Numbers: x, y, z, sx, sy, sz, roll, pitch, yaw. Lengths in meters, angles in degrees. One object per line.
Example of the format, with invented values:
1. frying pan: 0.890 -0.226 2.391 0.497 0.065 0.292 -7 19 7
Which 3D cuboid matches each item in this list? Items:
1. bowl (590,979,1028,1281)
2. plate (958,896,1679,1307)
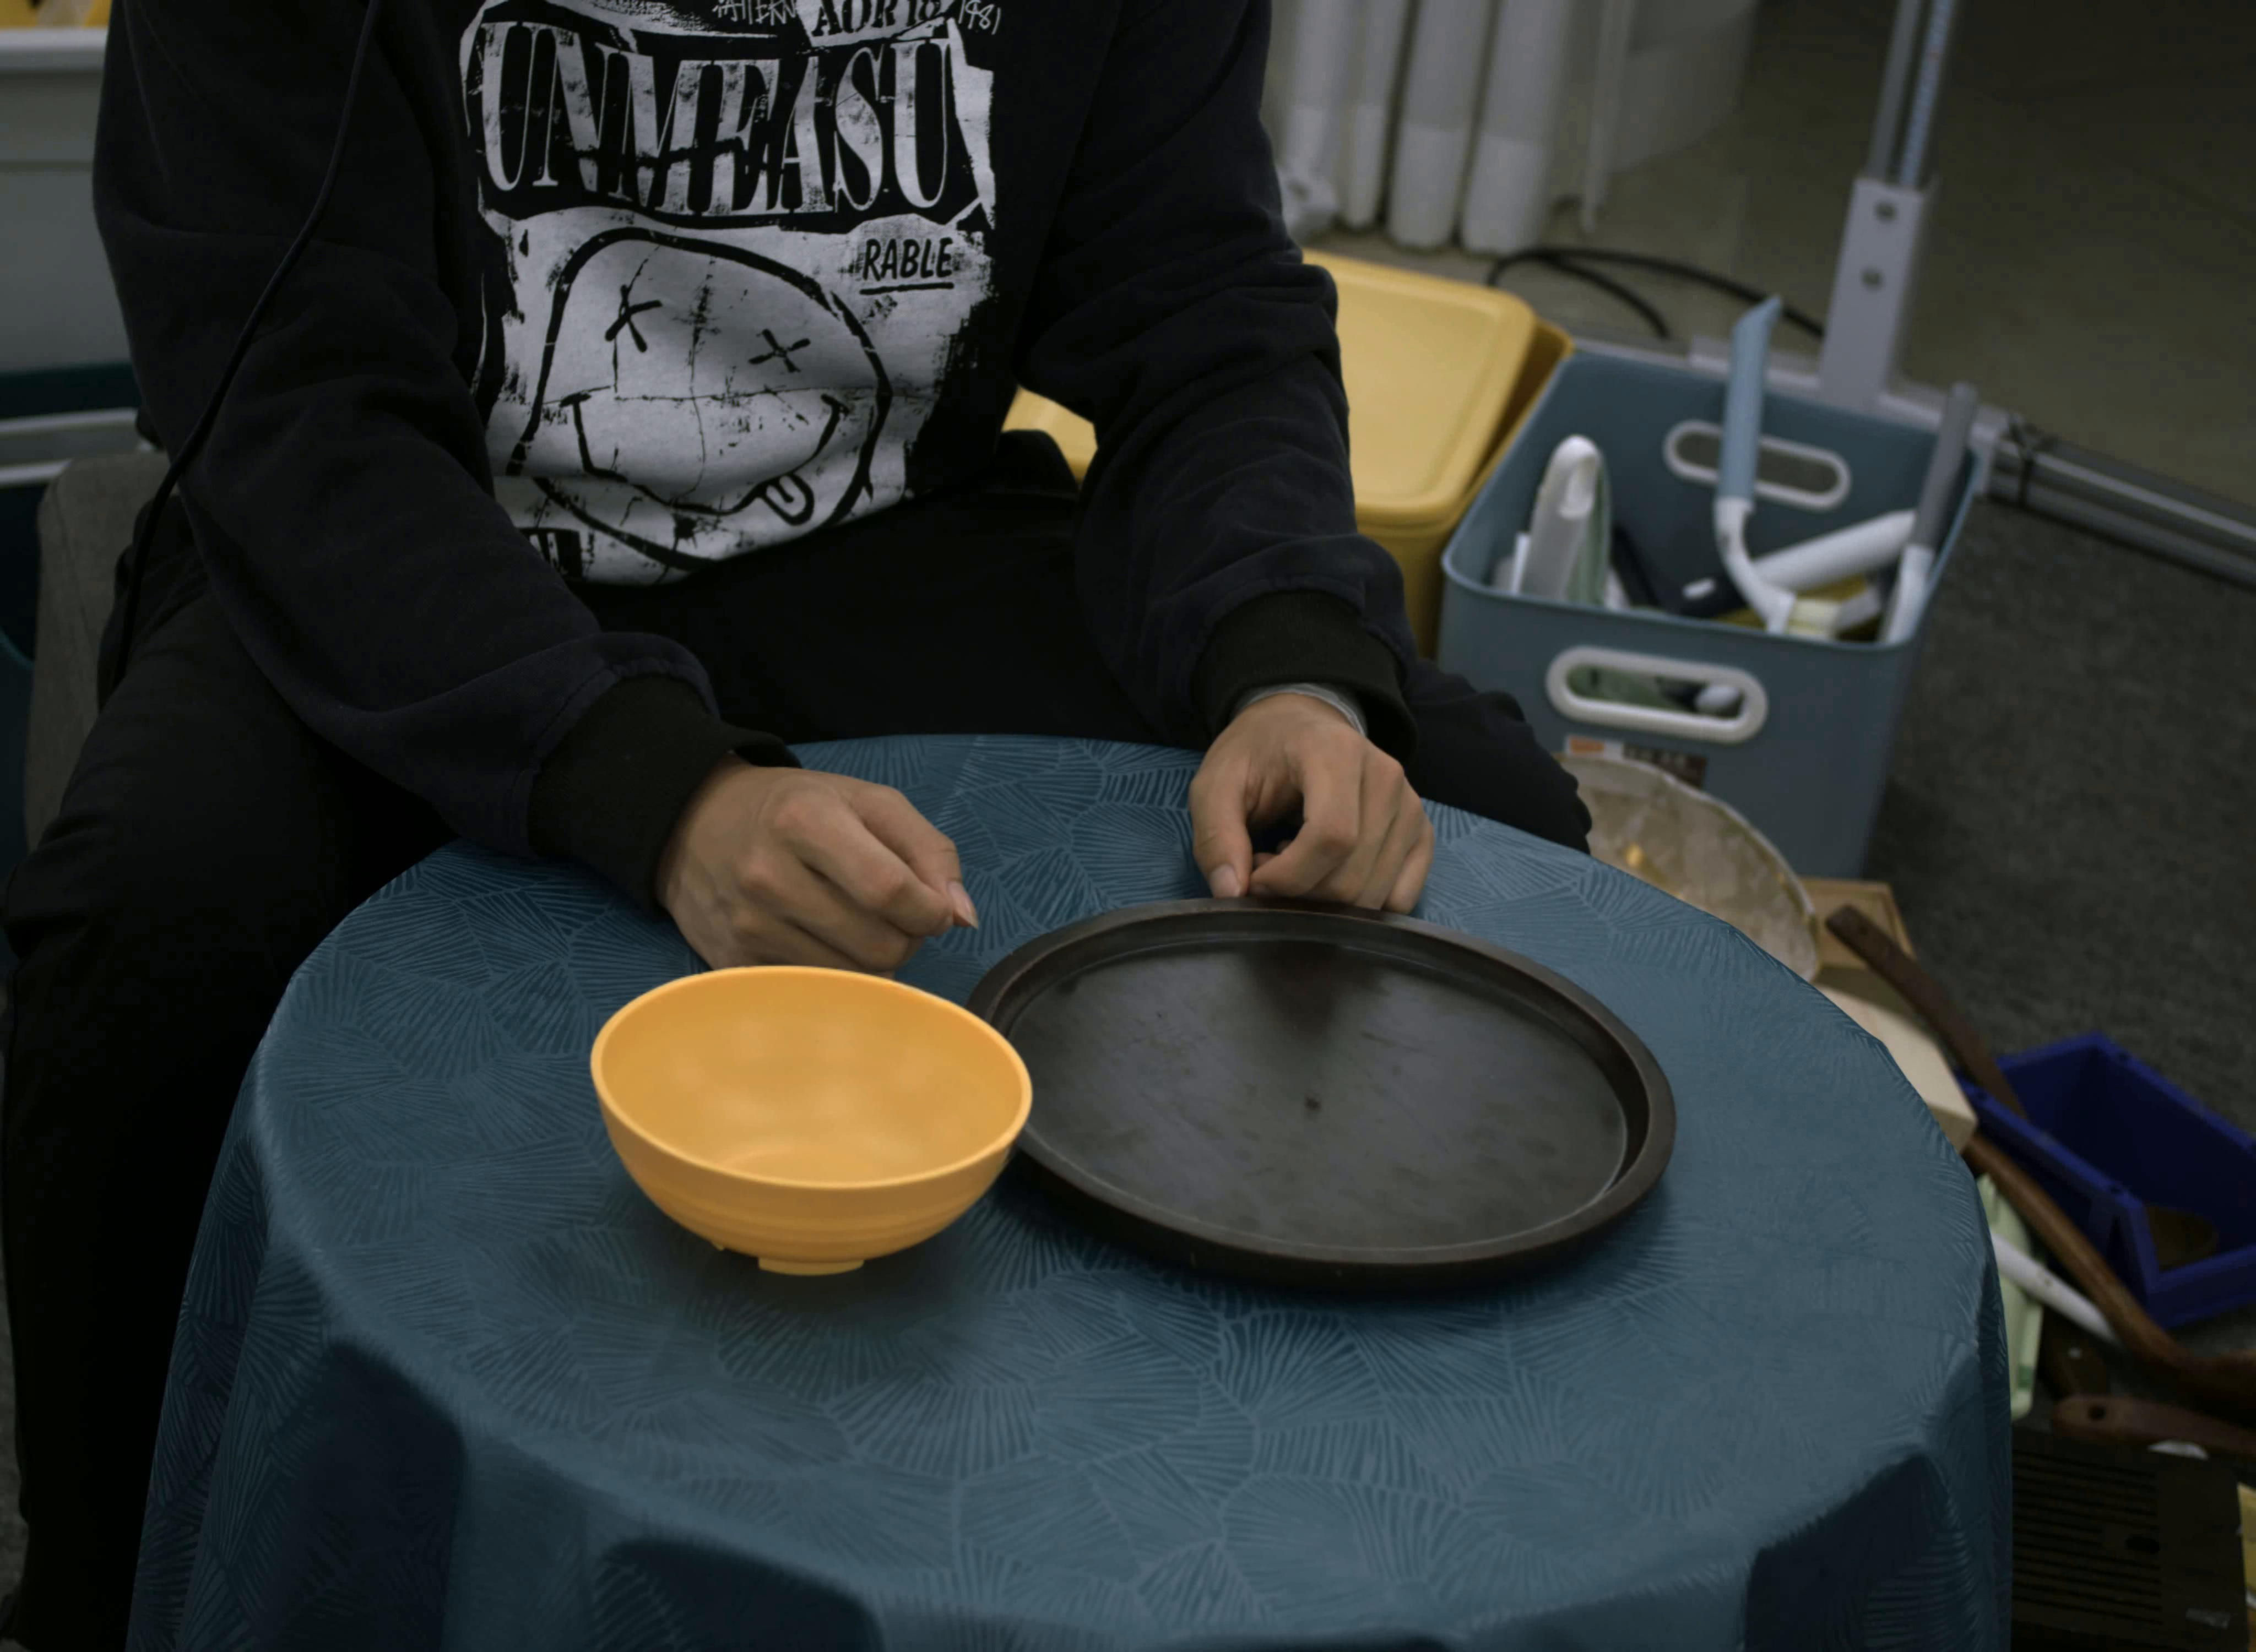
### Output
1. bowl: -0.107 0.108 1.746 0.145 0.060 0.146 6 24 -3
2. plate: 0.065 0.094 1.850 0.254 0.029 0.256 3 27 -2
